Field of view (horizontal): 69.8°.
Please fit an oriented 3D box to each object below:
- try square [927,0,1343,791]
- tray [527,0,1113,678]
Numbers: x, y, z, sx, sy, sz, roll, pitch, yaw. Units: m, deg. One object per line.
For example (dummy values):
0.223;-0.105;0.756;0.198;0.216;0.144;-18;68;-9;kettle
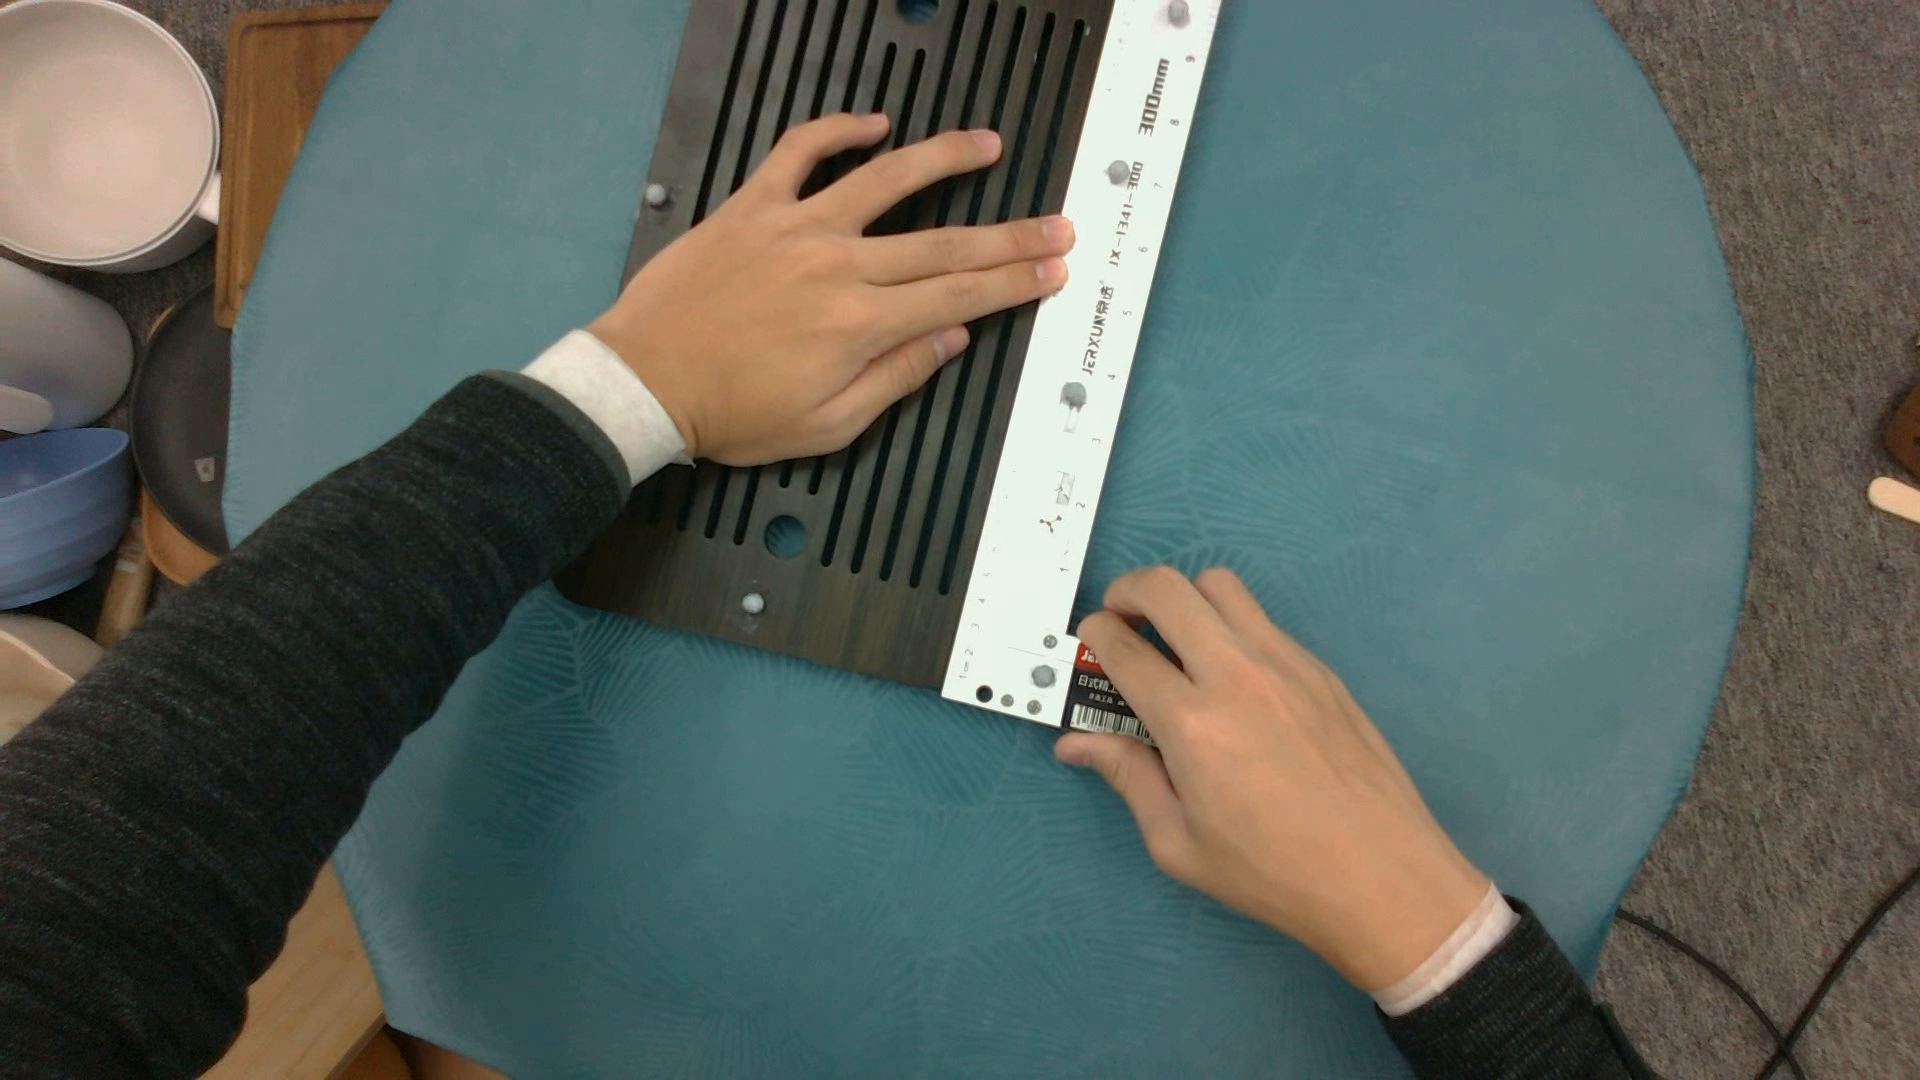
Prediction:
0.097;-0.074;0.525;0.152;0.016;0.313;14;85;4;try square
-0.051;-0.111;0.542;0.170;0.018;0.306;13;85;2;tray
